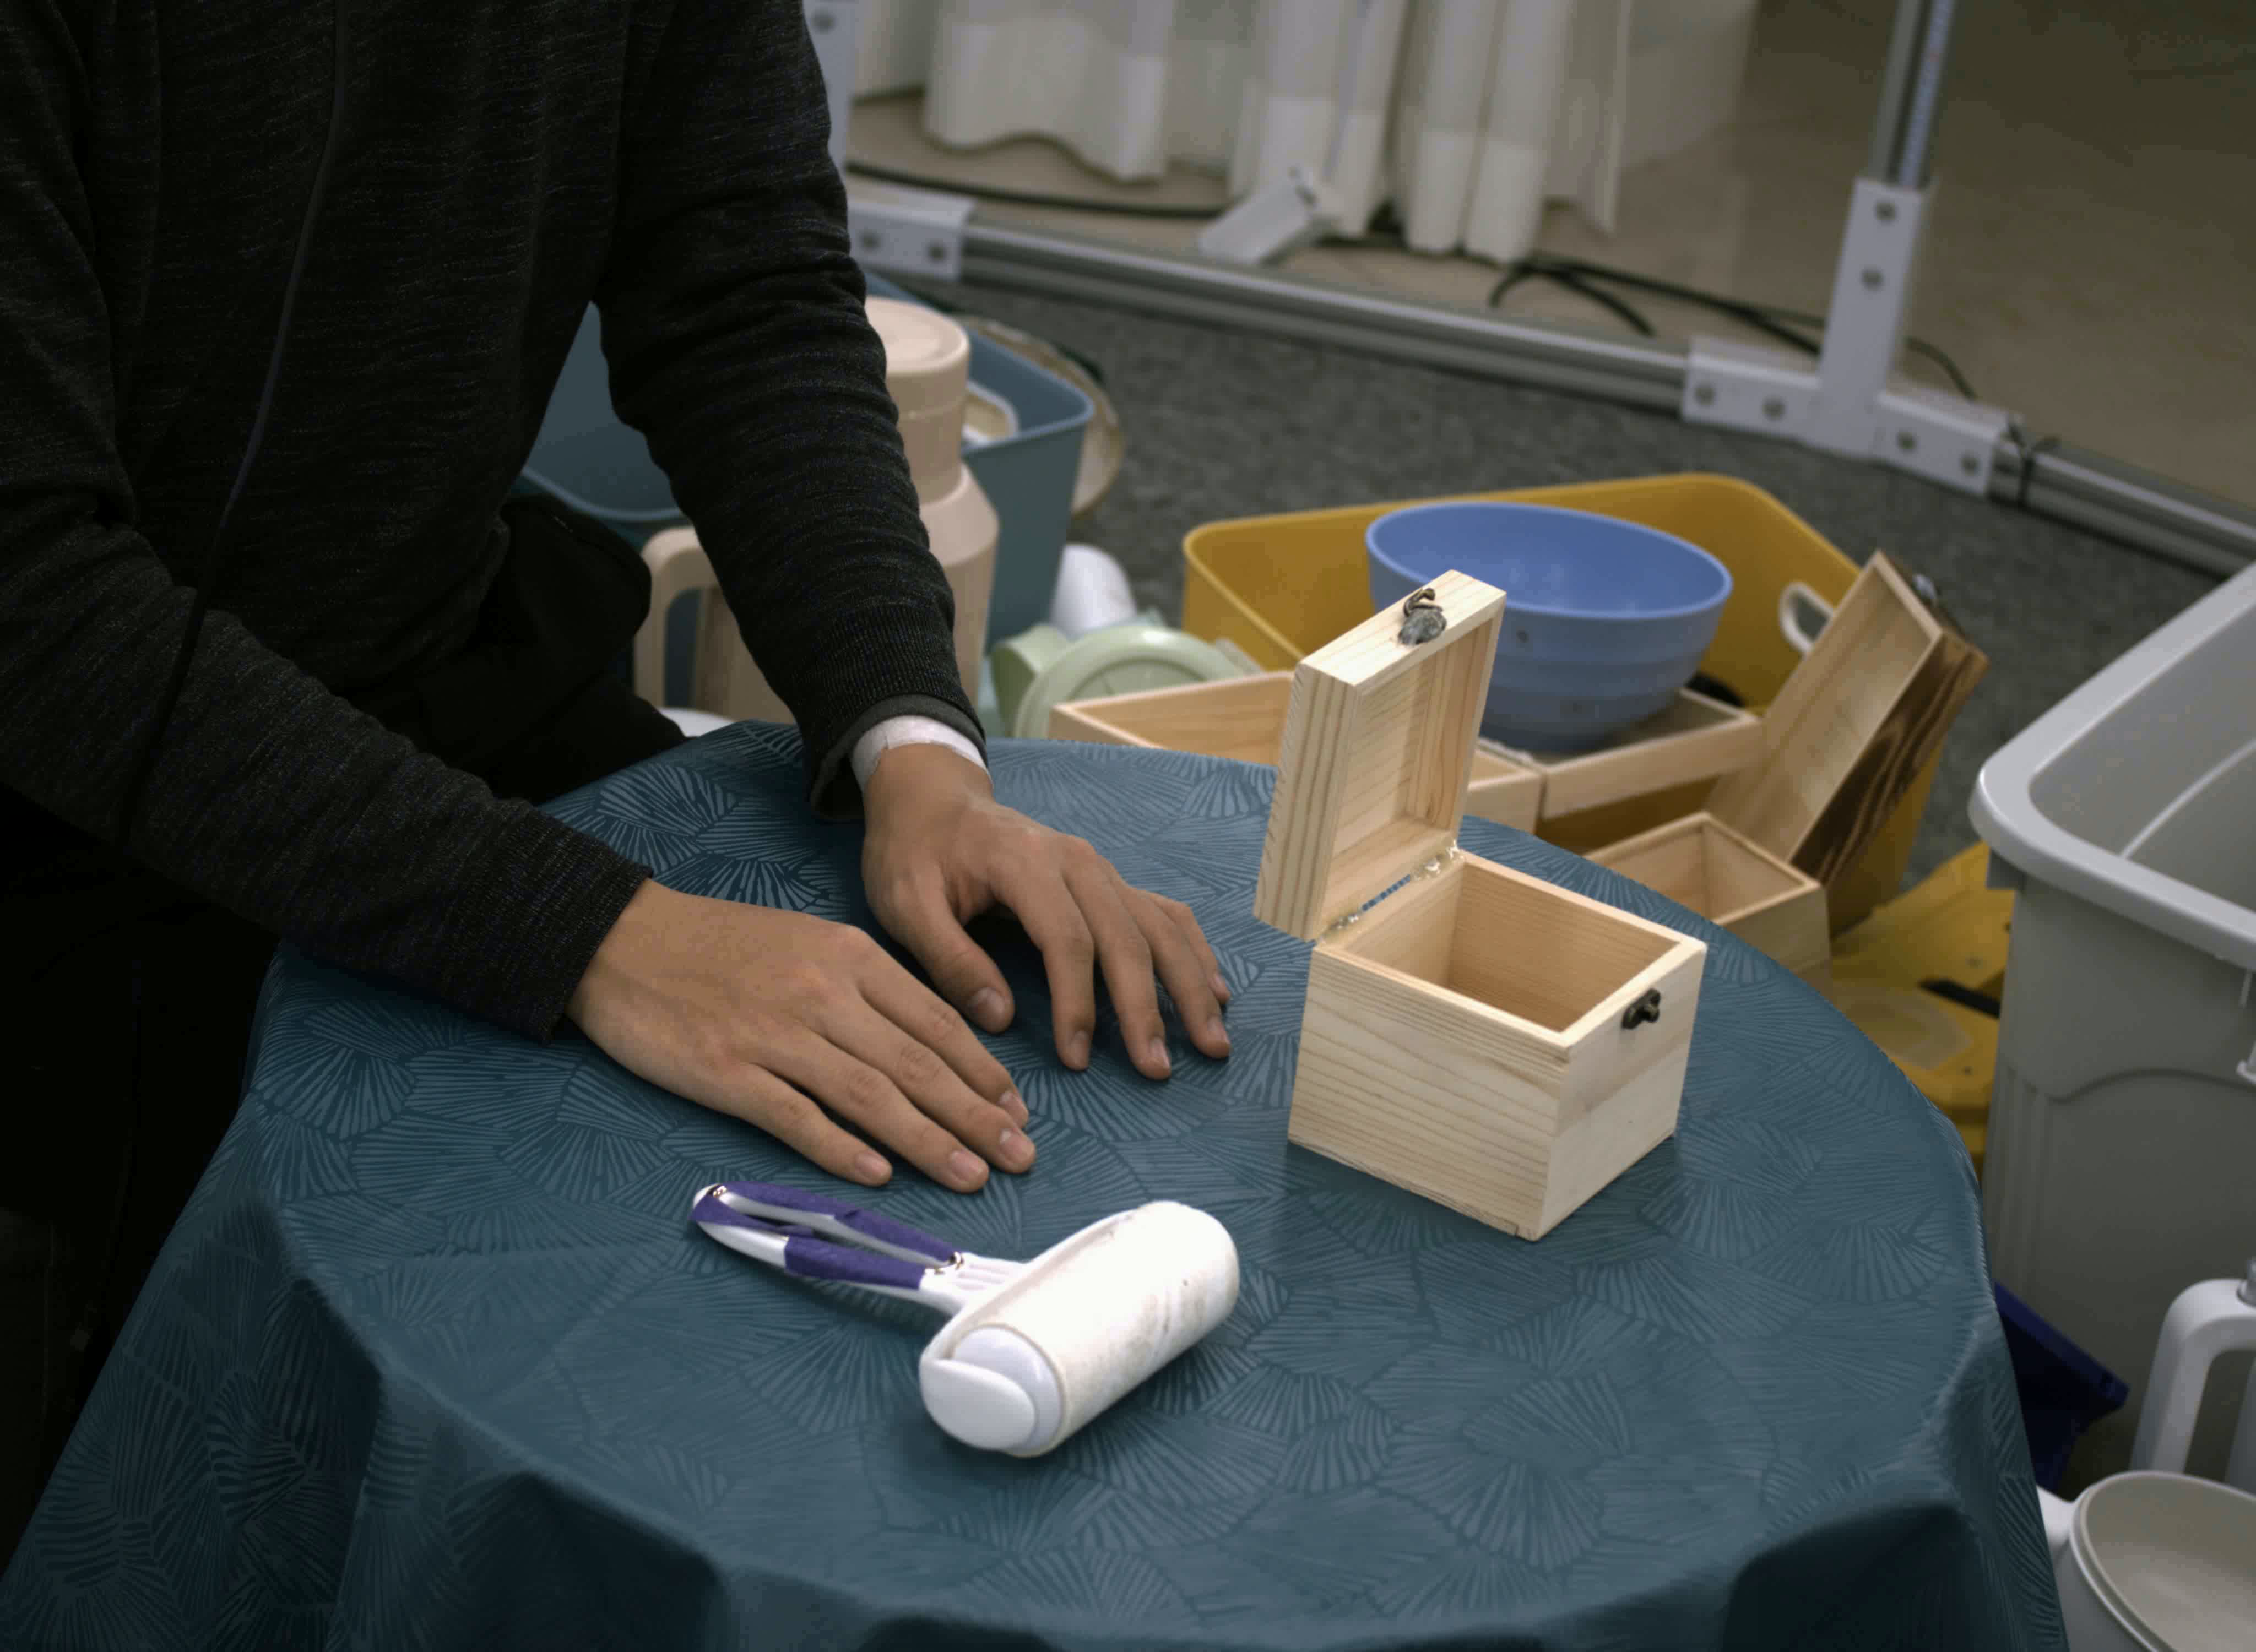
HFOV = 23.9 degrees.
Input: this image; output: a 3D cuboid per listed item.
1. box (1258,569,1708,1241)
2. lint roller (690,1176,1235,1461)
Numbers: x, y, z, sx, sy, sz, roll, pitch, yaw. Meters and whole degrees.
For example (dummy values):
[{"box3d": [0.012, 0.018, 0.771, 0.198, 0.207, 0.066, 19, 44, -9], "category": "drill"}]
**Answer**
[{"box3d": [0.126, 0.025, 1.822, 0.134, 0.184, 0.102, 21, 29, 27], "category": "box"}, {"box3d": [-0.065, 0.136, 1.711, 0.182, 0.050, 0.132, 25, 33, 28], "category": "lint roller"}]
